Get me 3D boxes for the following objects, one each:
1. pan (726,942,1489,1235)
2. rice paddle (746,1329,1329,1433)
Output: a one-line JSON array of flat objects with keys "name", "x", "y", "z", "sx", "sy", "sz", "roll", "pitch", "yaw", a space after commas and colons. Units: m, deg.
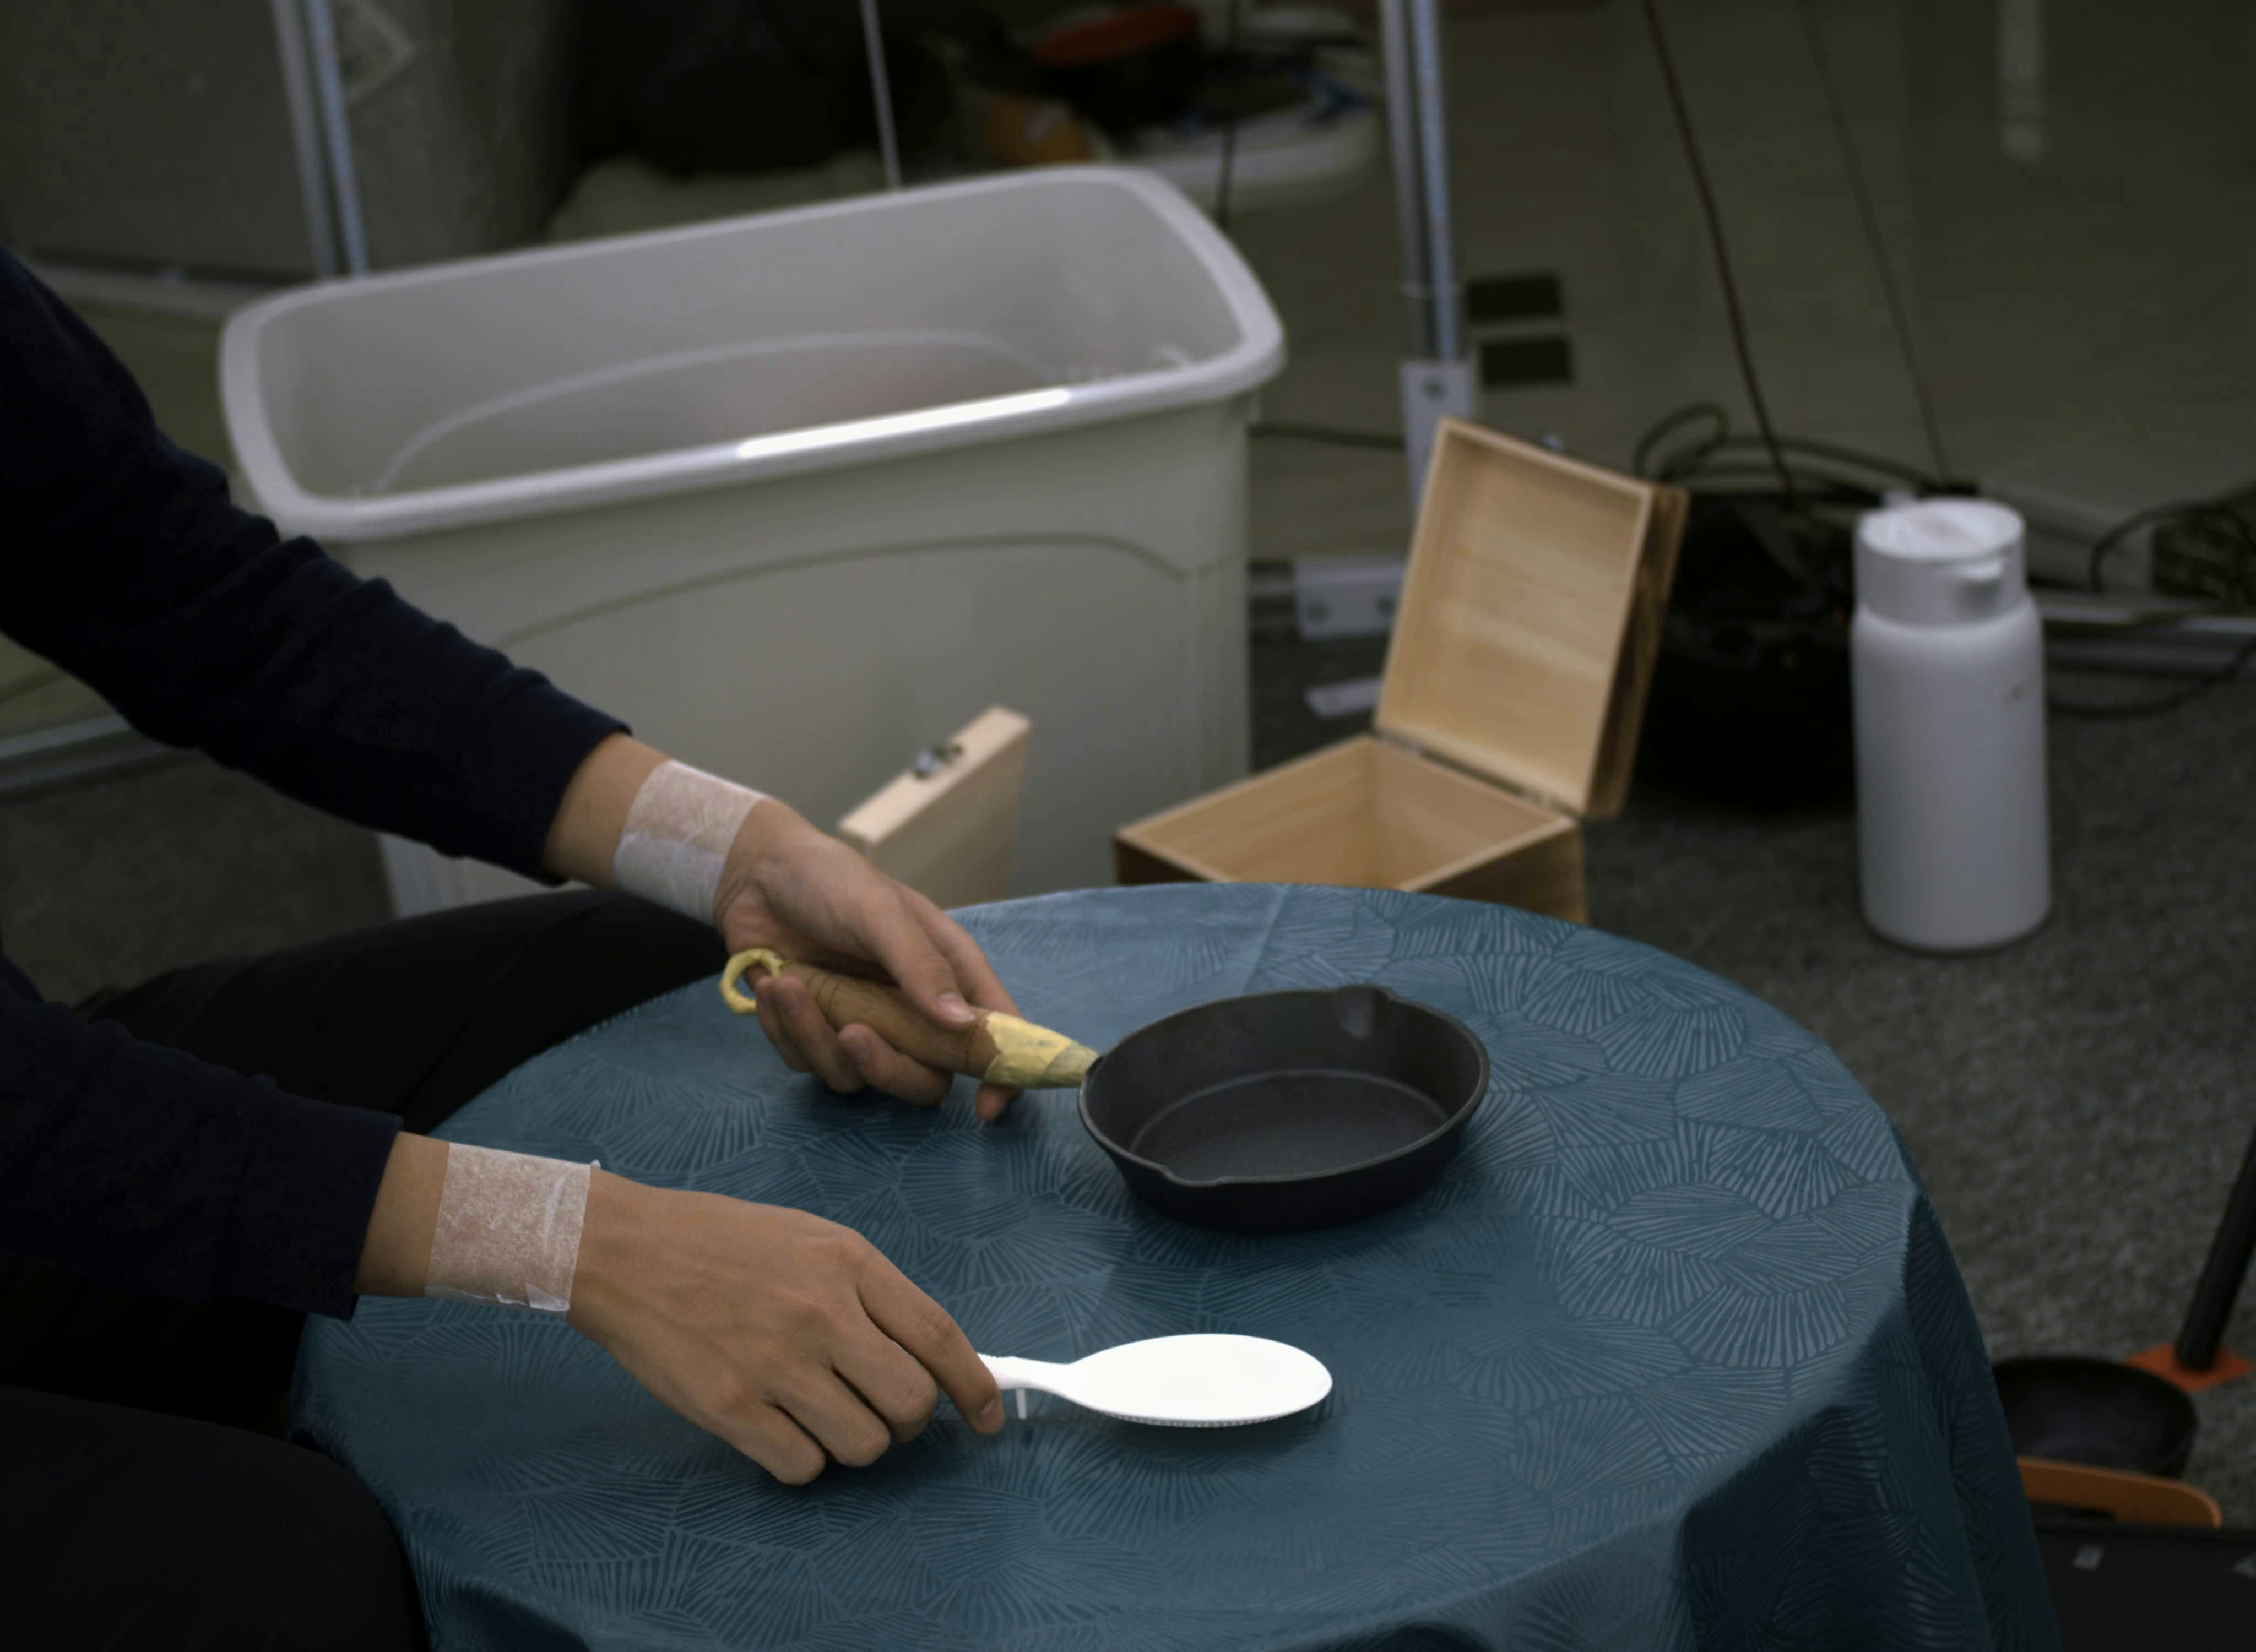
[{"name": "pan", "x": -0.014, "y": 0.092, "z": 2.190, "sx": 0.322, "sy": 0.050, "sz": 0.167, "roll": 10, "pitch": 30, "yaw": 28}, {"name": "rice paddle", "x": -0.032, "y": 0.194, "z": 1.998, "sx": 0.205, "sy": 0.030, "sz": 0.068, "roll": -2, "pitch": 22, "yaw": 6}]
